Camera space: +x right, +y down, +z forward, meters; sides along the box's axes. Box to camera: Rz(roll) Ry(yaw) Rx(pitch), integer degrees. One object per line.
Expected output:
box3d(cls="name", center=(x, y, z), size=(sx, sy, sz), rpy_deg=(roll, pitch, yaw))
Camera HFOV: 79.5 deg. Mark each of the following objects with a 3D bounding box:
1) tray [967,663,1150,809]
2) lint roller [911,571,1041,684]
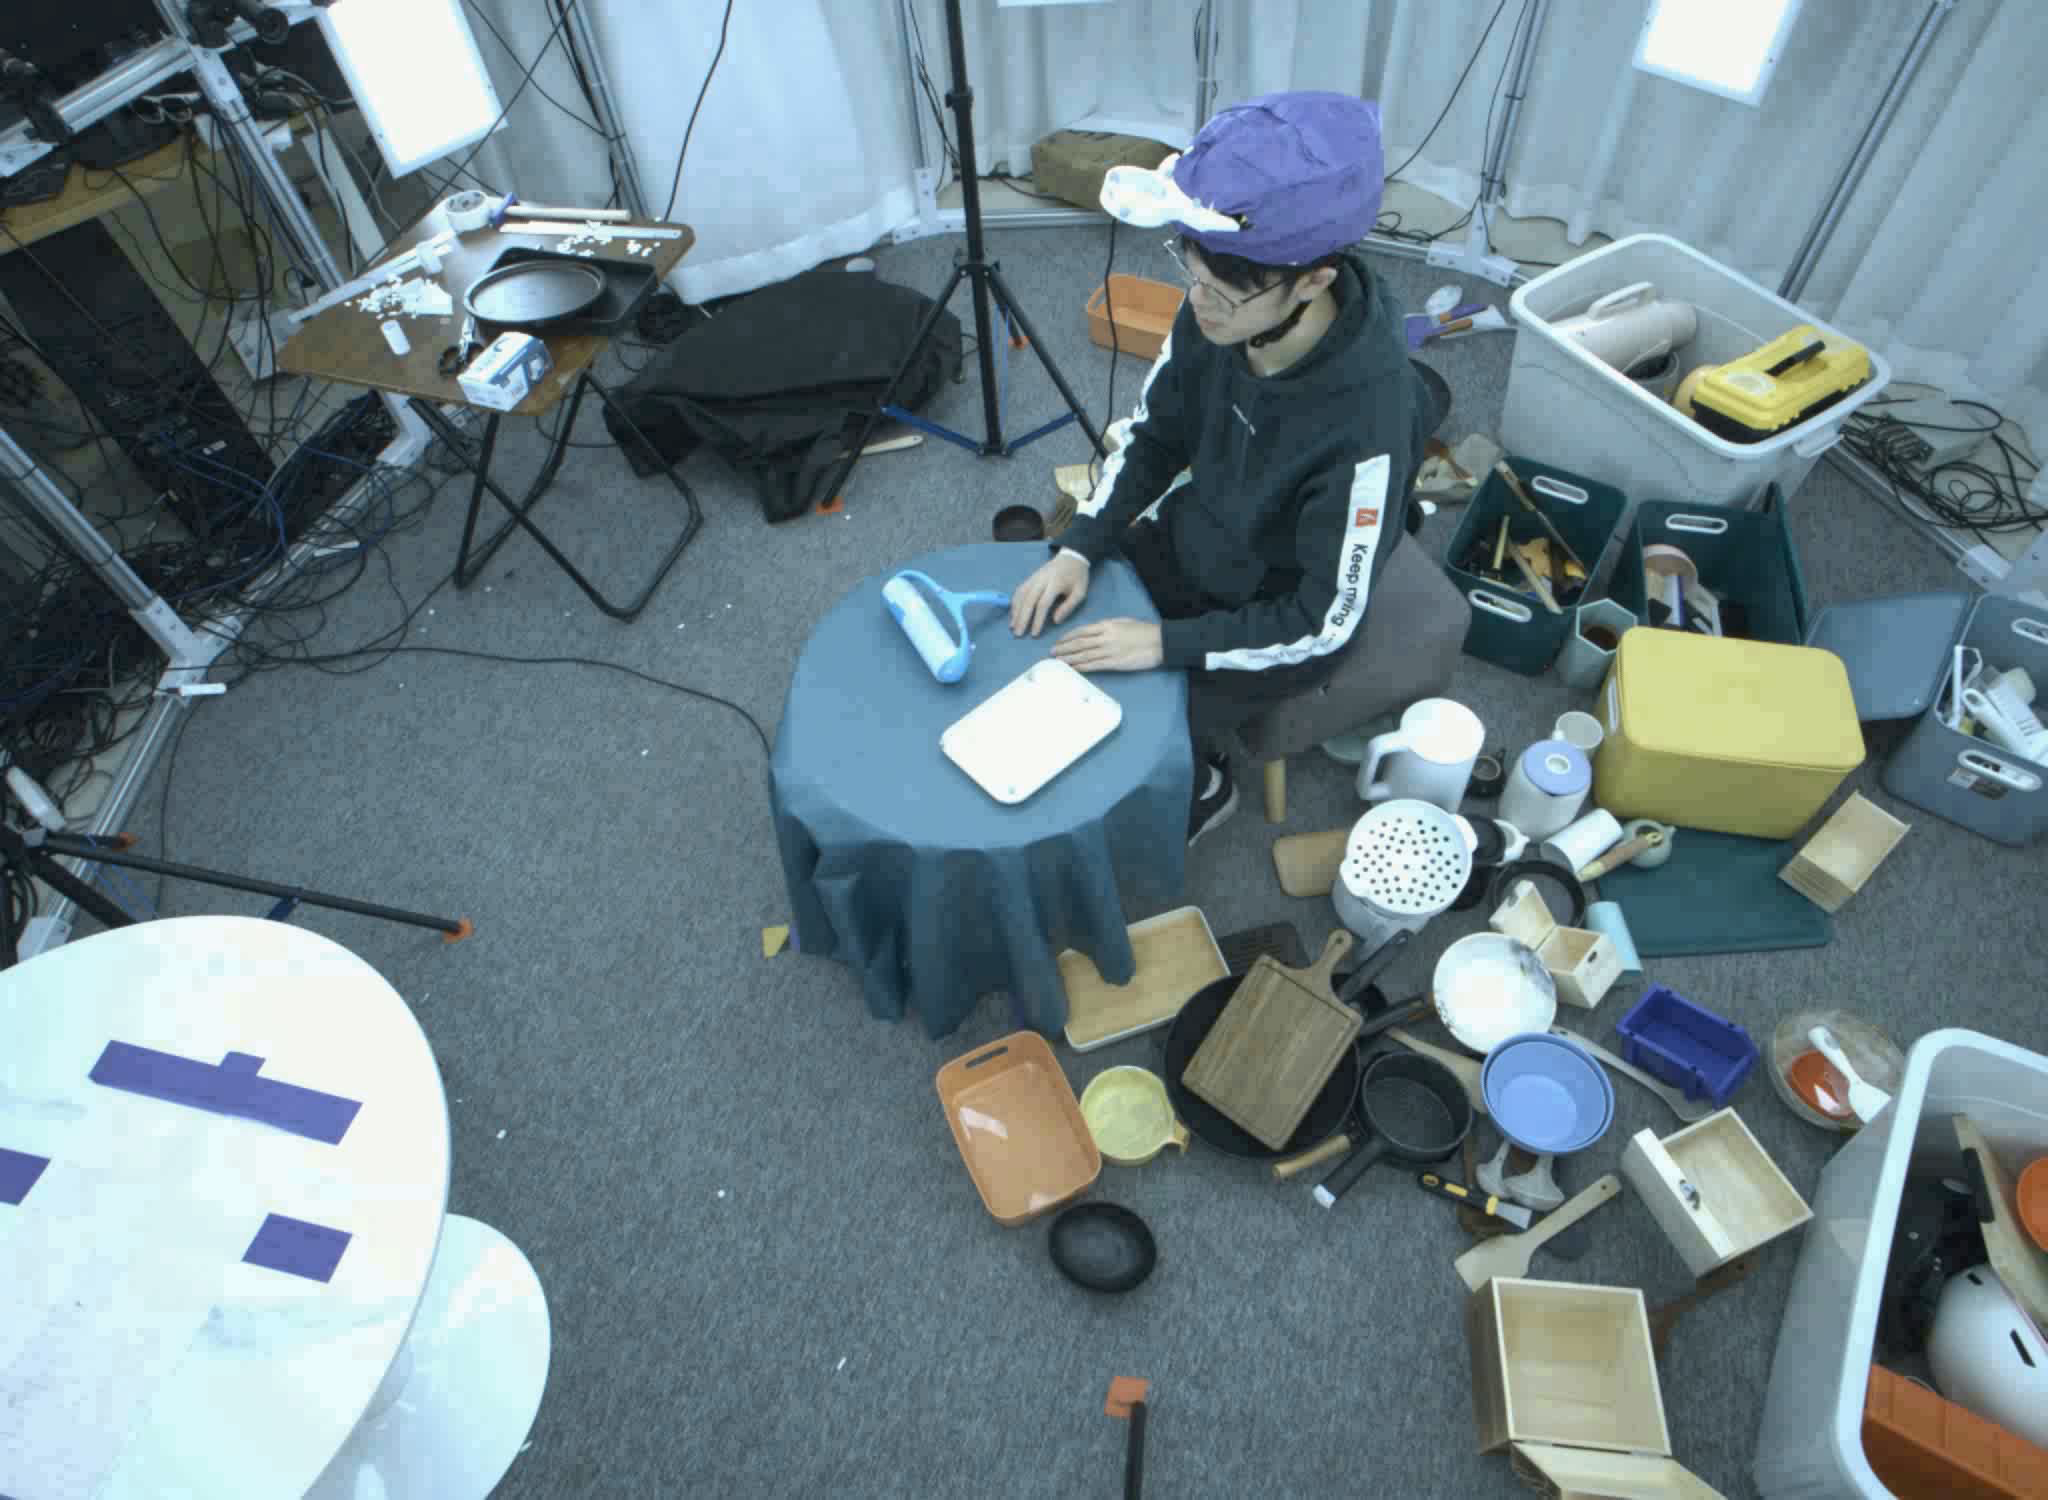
box3d(cls="tray", center=(0.051, -0.022, 1.786), size=(0.241, 0.017, 0.168), rpy_deg=(-36, 61, -21))
box3d(cls="lint roller", center=(-0.059, -0.211, 1.900), size=(0.181, 0.069, 0.224), rpy_deg=(-28, 56, -14))
